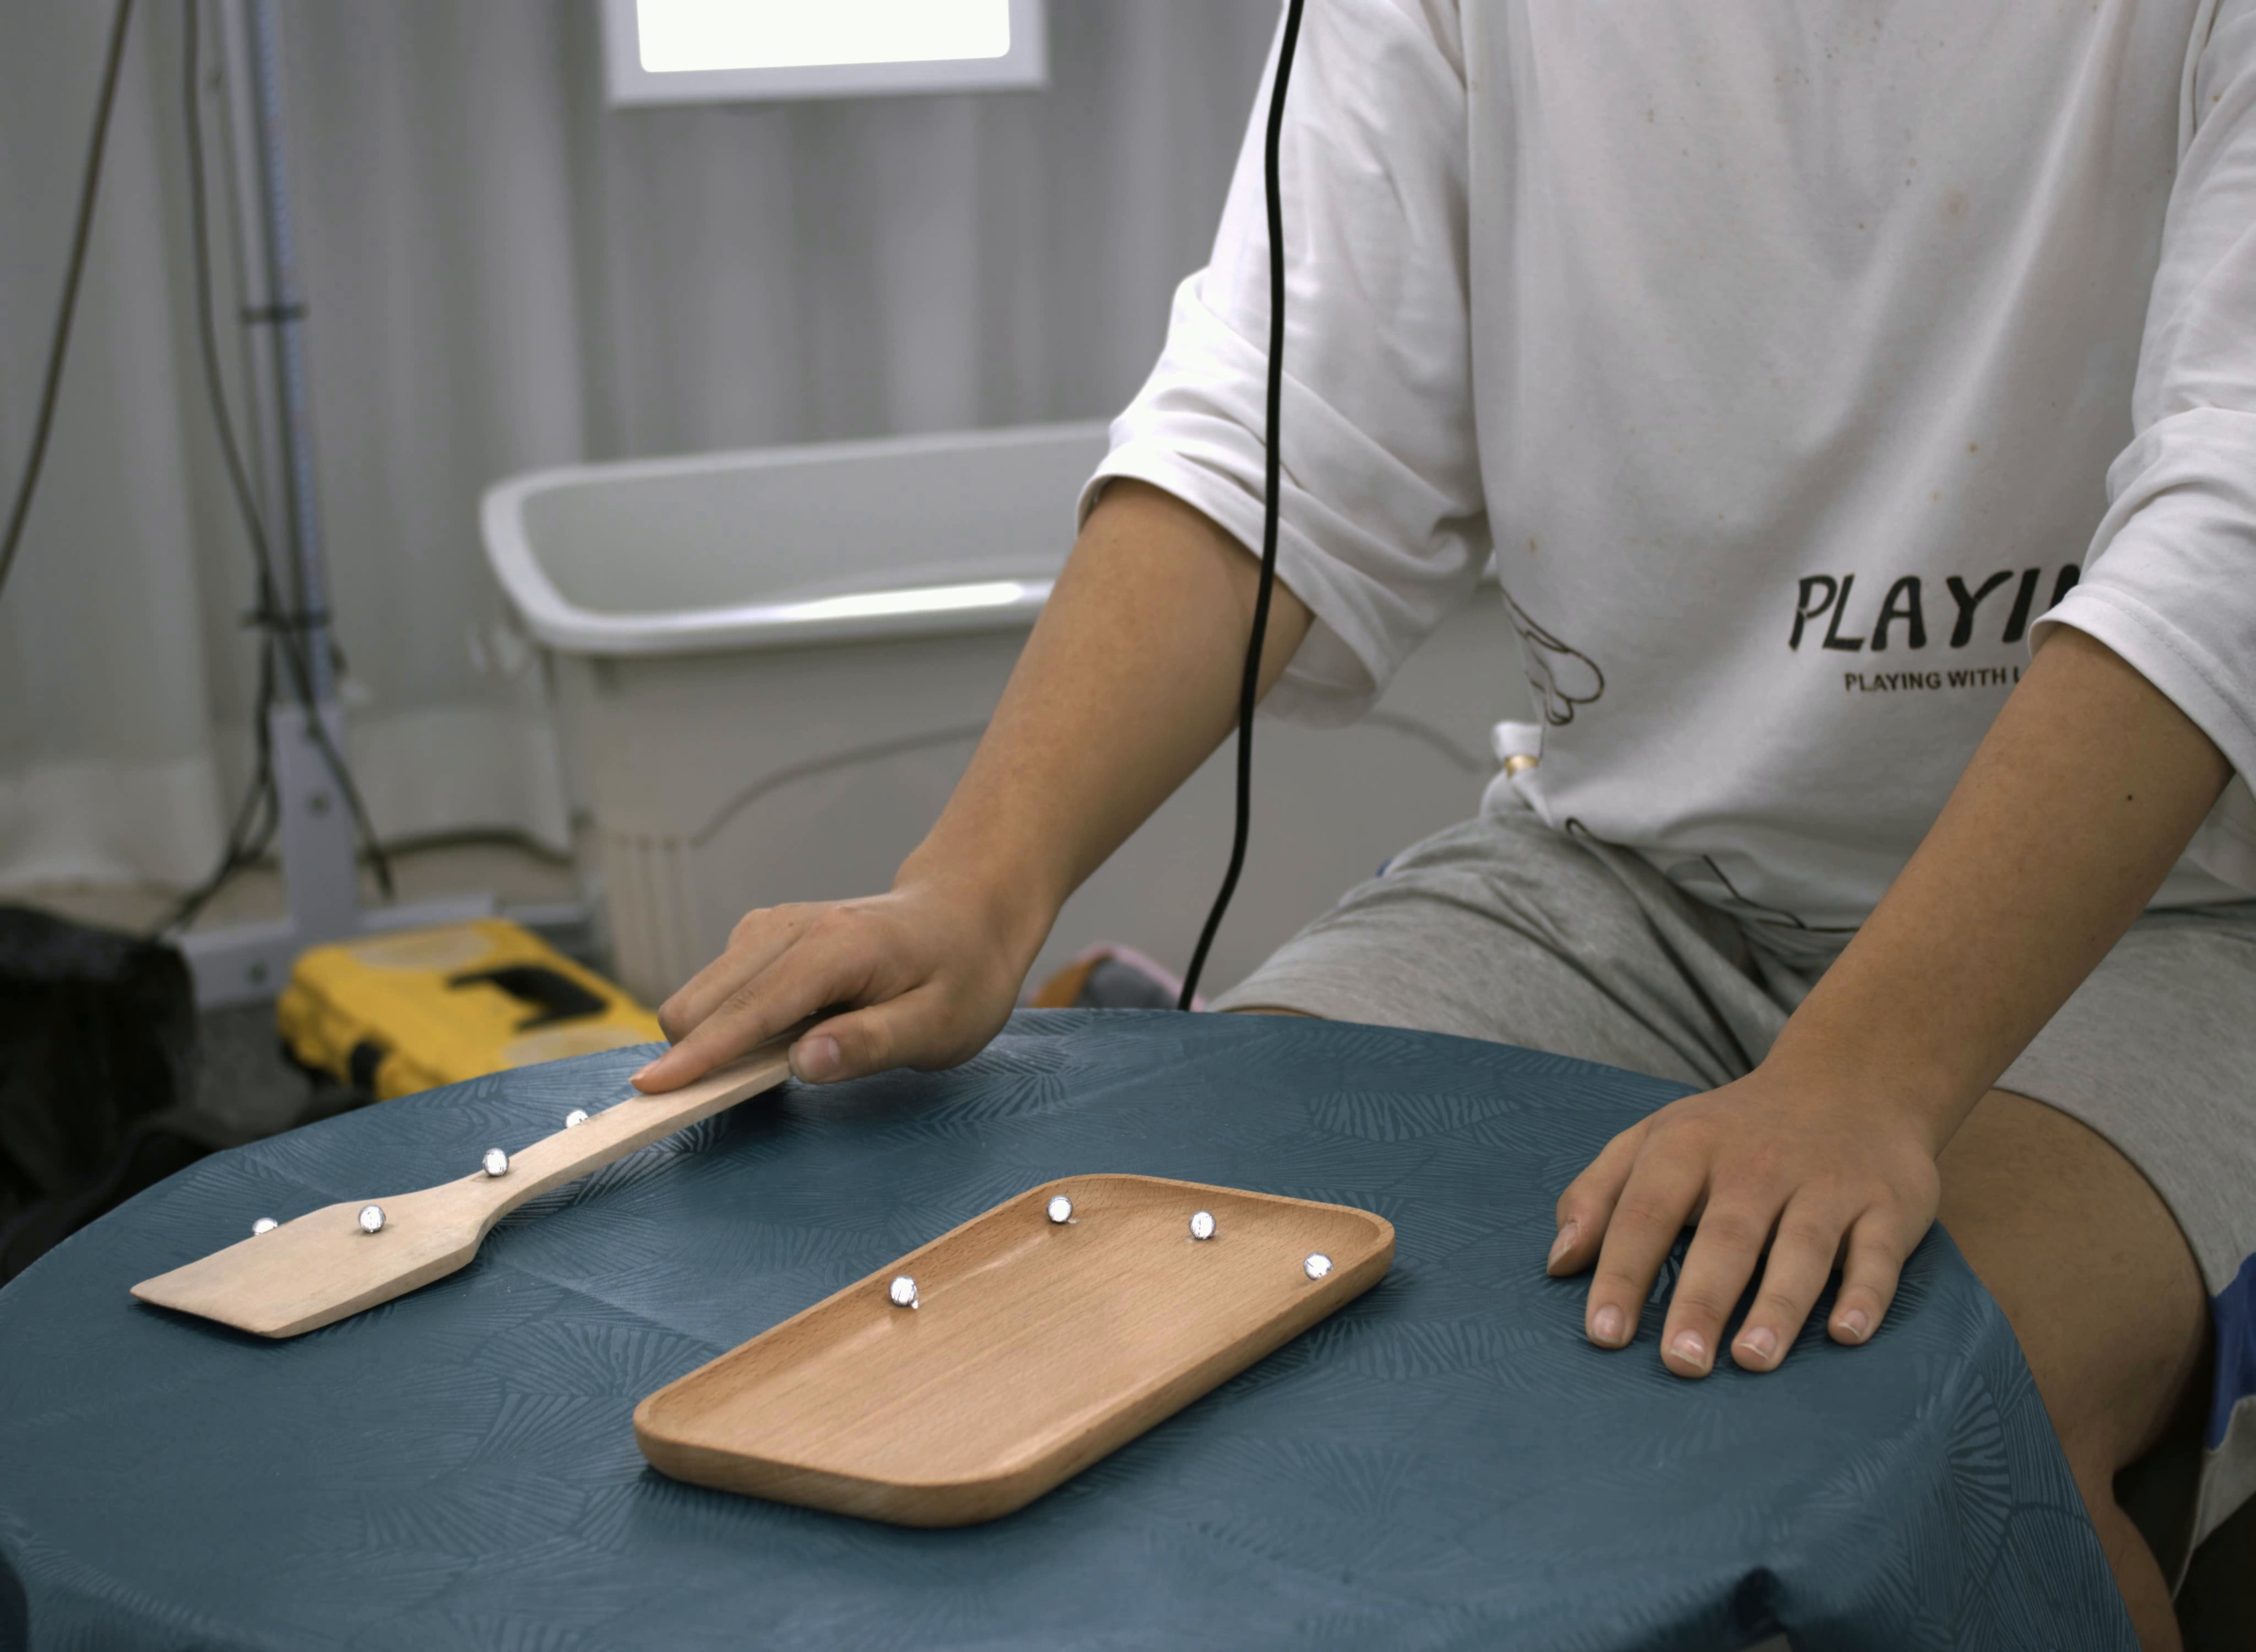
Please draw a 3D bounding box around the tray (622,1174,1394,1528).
[{"bbox_3d":[-0.030,0.148,1.567,0.131,0.023,0.251,4,16,33],"label":"tray"}]

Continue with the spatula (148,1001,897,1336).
[{"bbox_3d":[-0.179,0.105,1.735,0.072,0.010,0.293,8,22,41],"label":"spatula"}]
